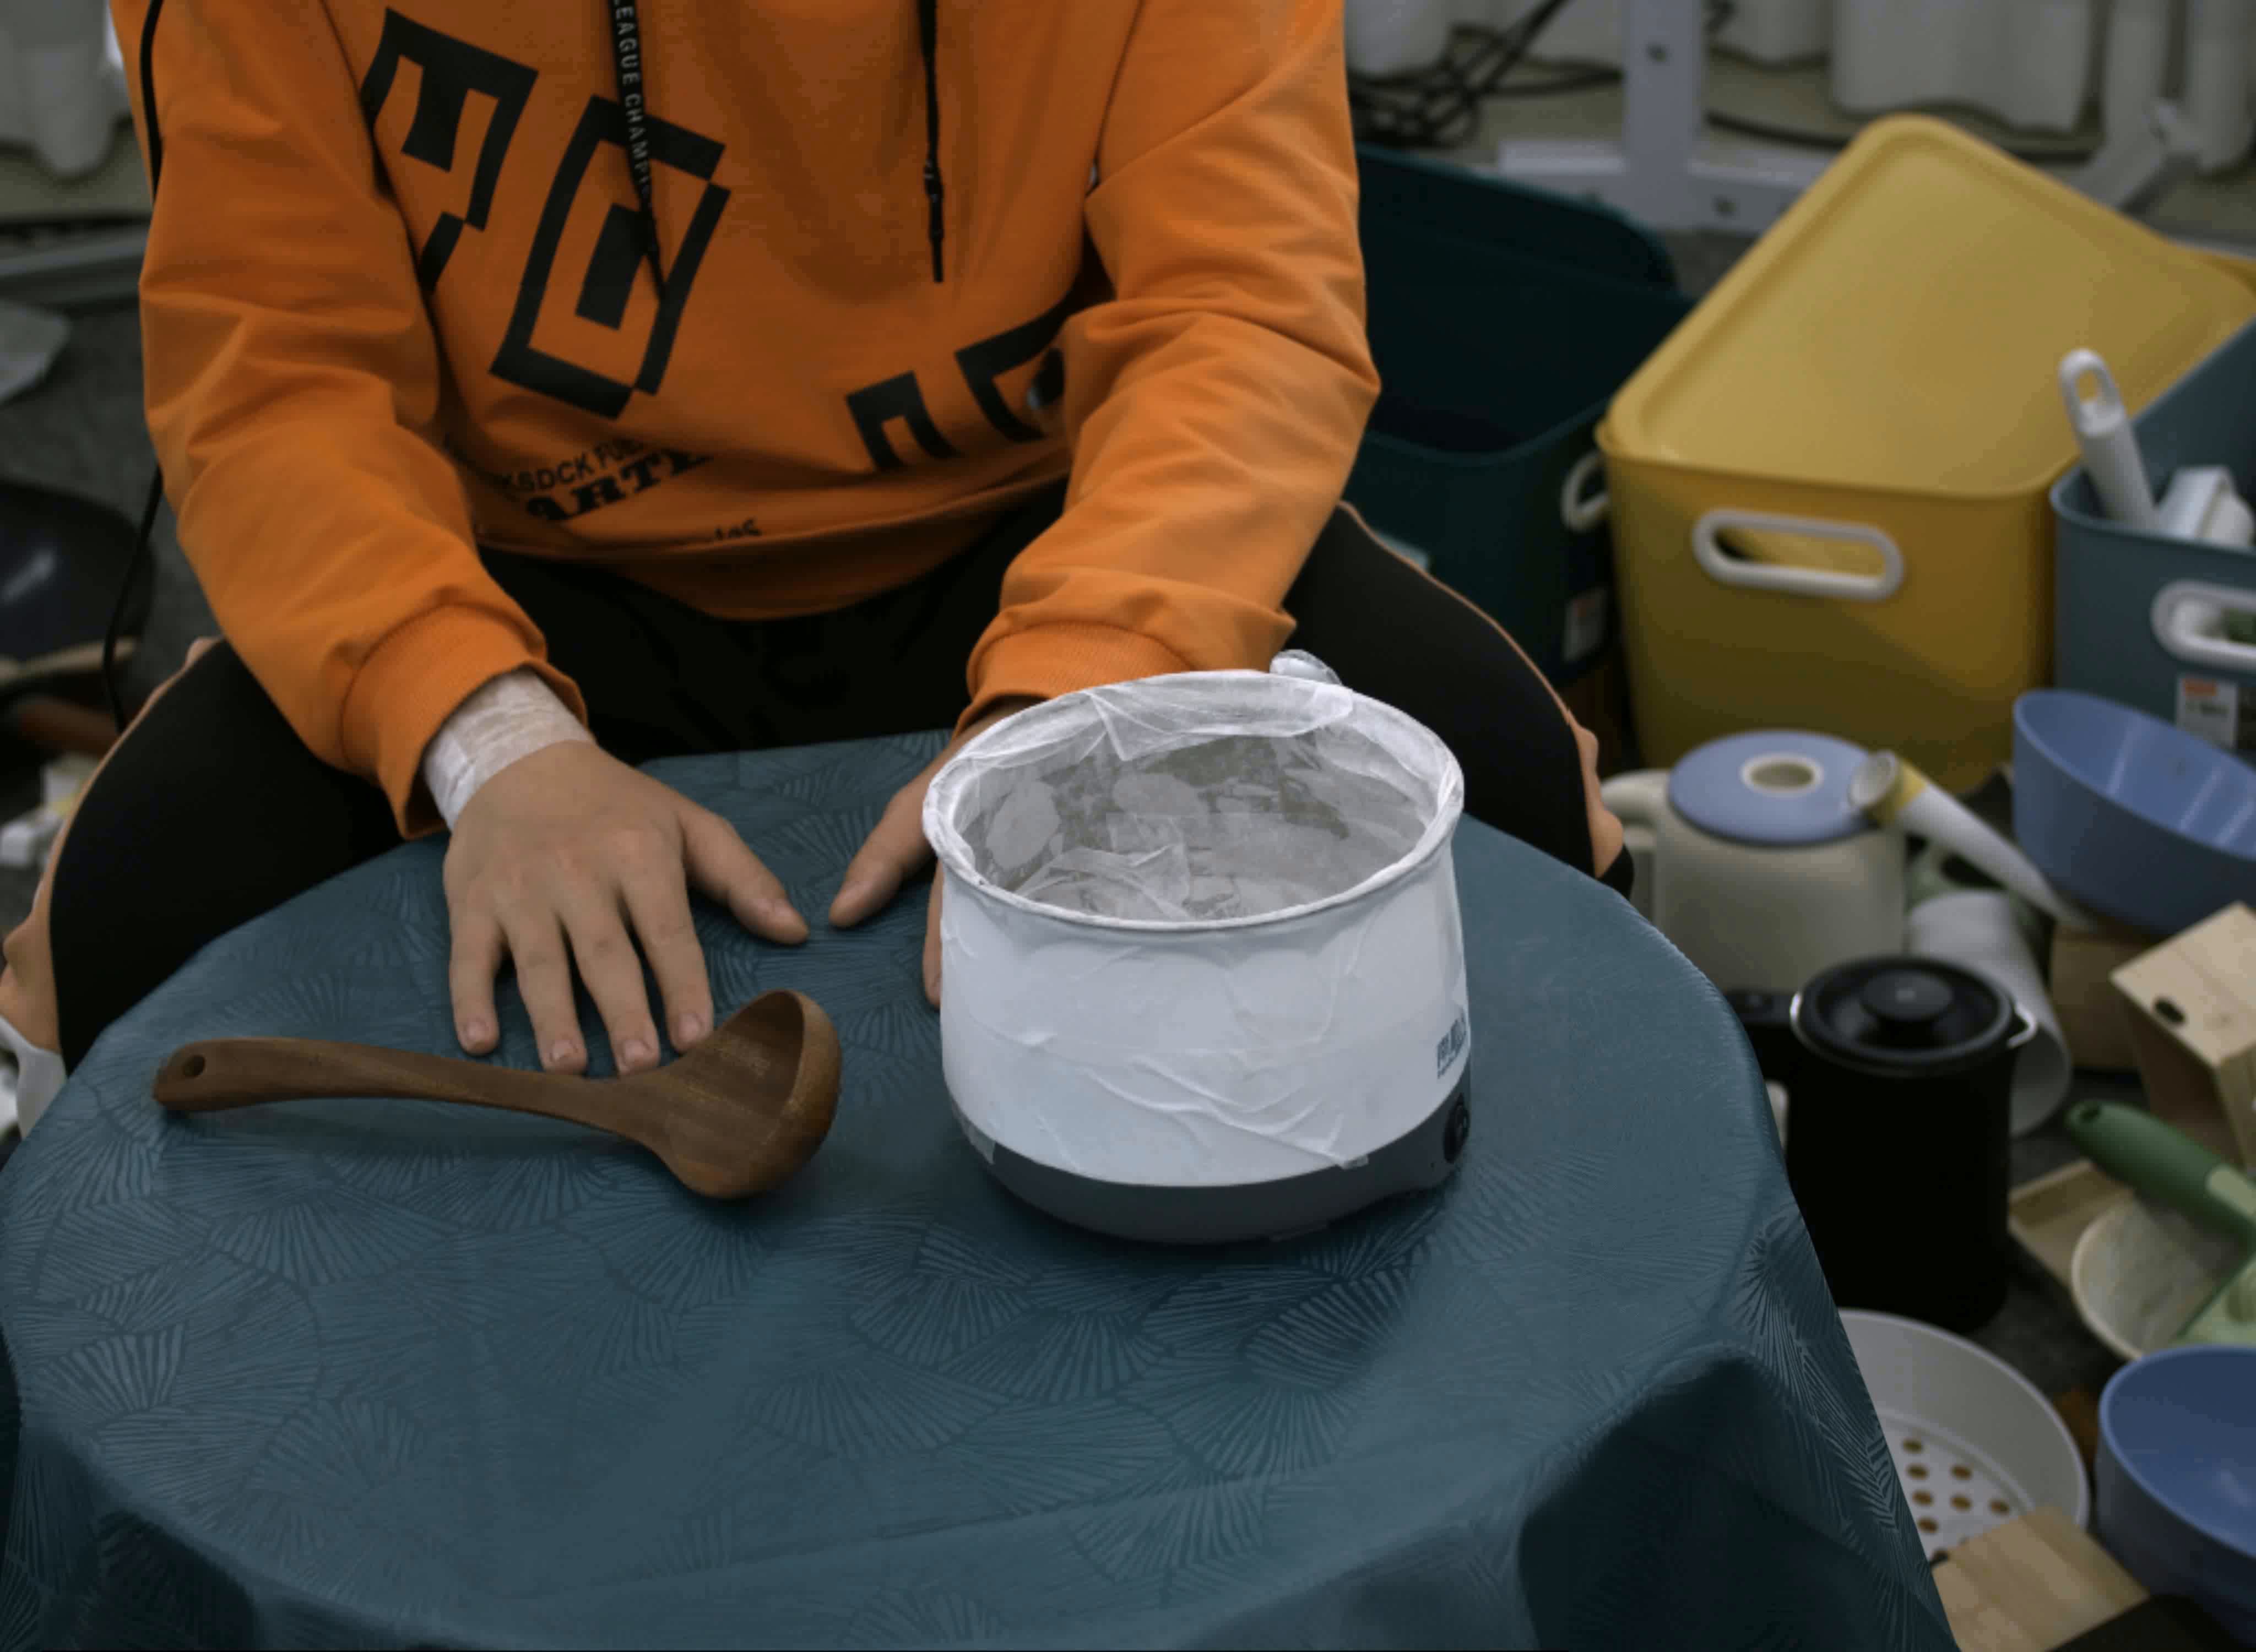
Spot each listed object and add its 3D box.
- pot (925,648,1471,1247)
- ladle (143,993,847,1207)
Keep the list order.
[{"bbox_3d":[0.034,0.033,1.883,0.177,0.135,0.238,7,29,18],"label":"pot"},{"bbox_3d":[-0.217,0.085,1.891,0.258,0.064,0.078,5,54,13],"label":"ladle"}]
